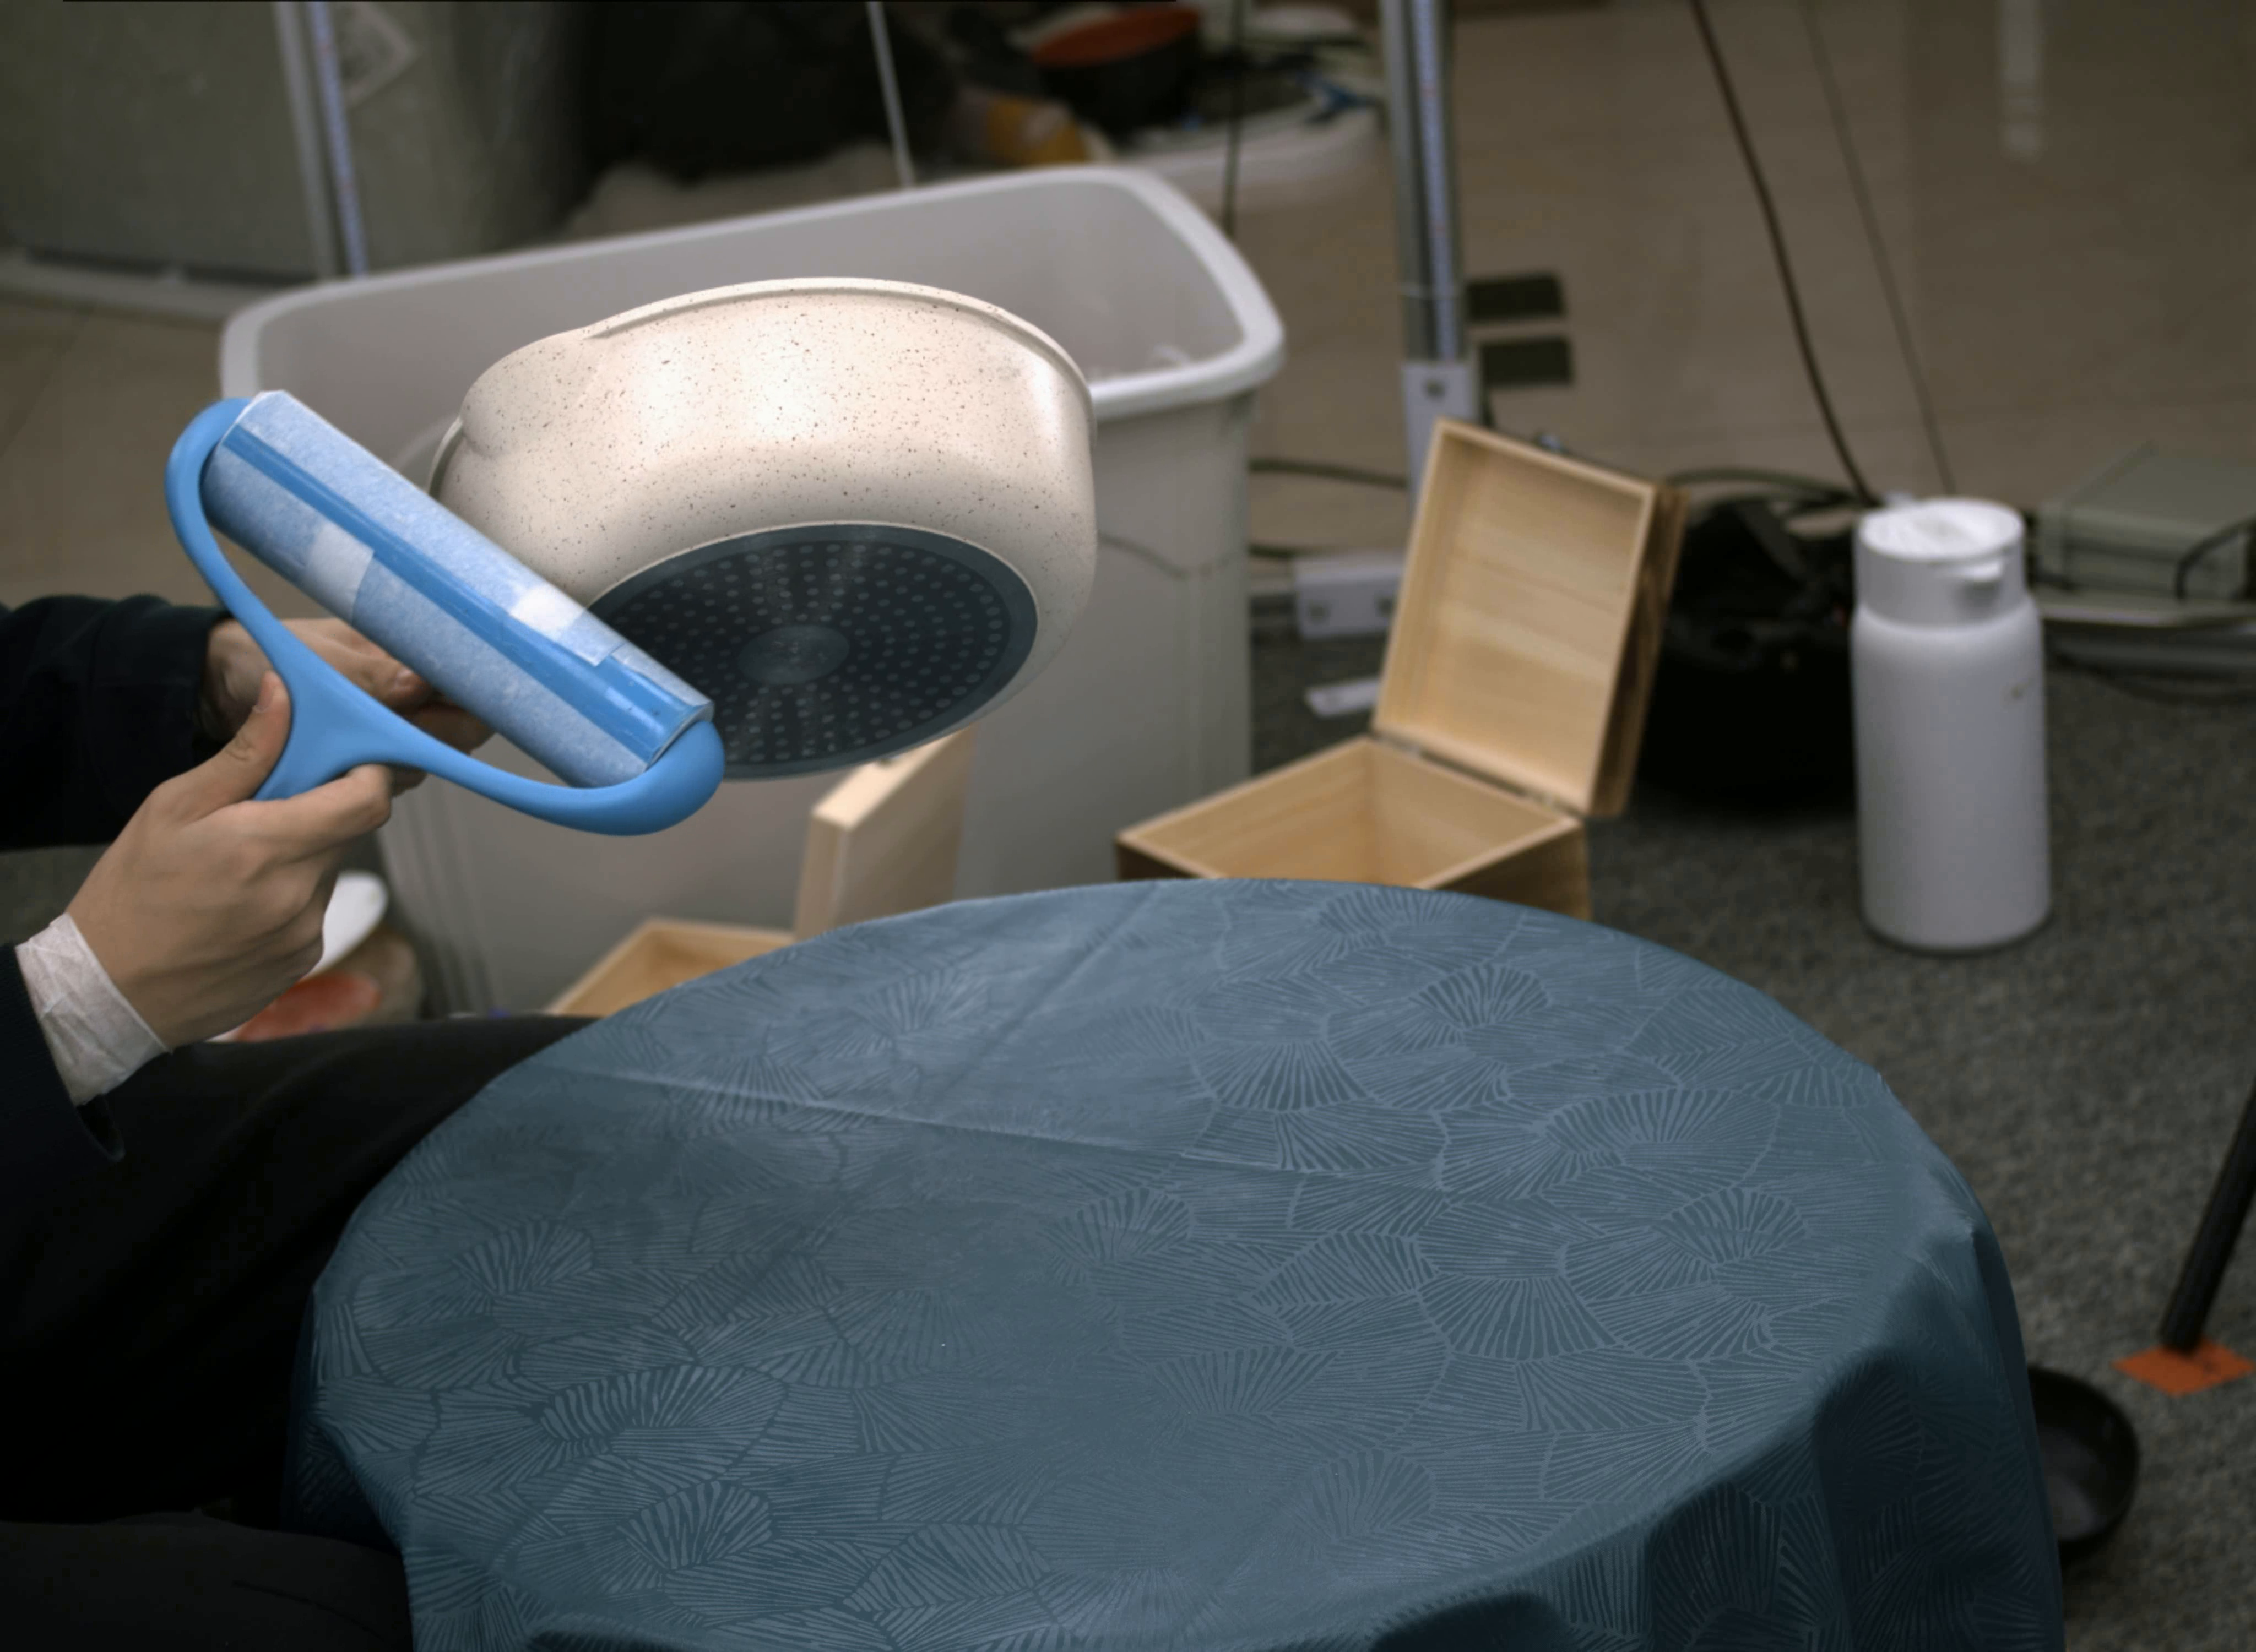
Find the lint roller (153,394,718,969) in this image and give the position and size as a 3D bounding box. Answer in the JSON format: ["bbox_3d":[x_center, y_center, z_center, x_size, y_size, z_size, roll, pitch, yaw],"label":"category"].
[{"bbox_3d":[-0.274,-0.029,1.981,0.228,0.179,0.068,33,-8,3],"label":"lint roller"}]

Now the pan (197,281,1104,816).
[{"bbox_3d":[-0.195,-0.066,2.133,0.438,0.100,0.265,-29,-30,33],"label":"pan"}]
